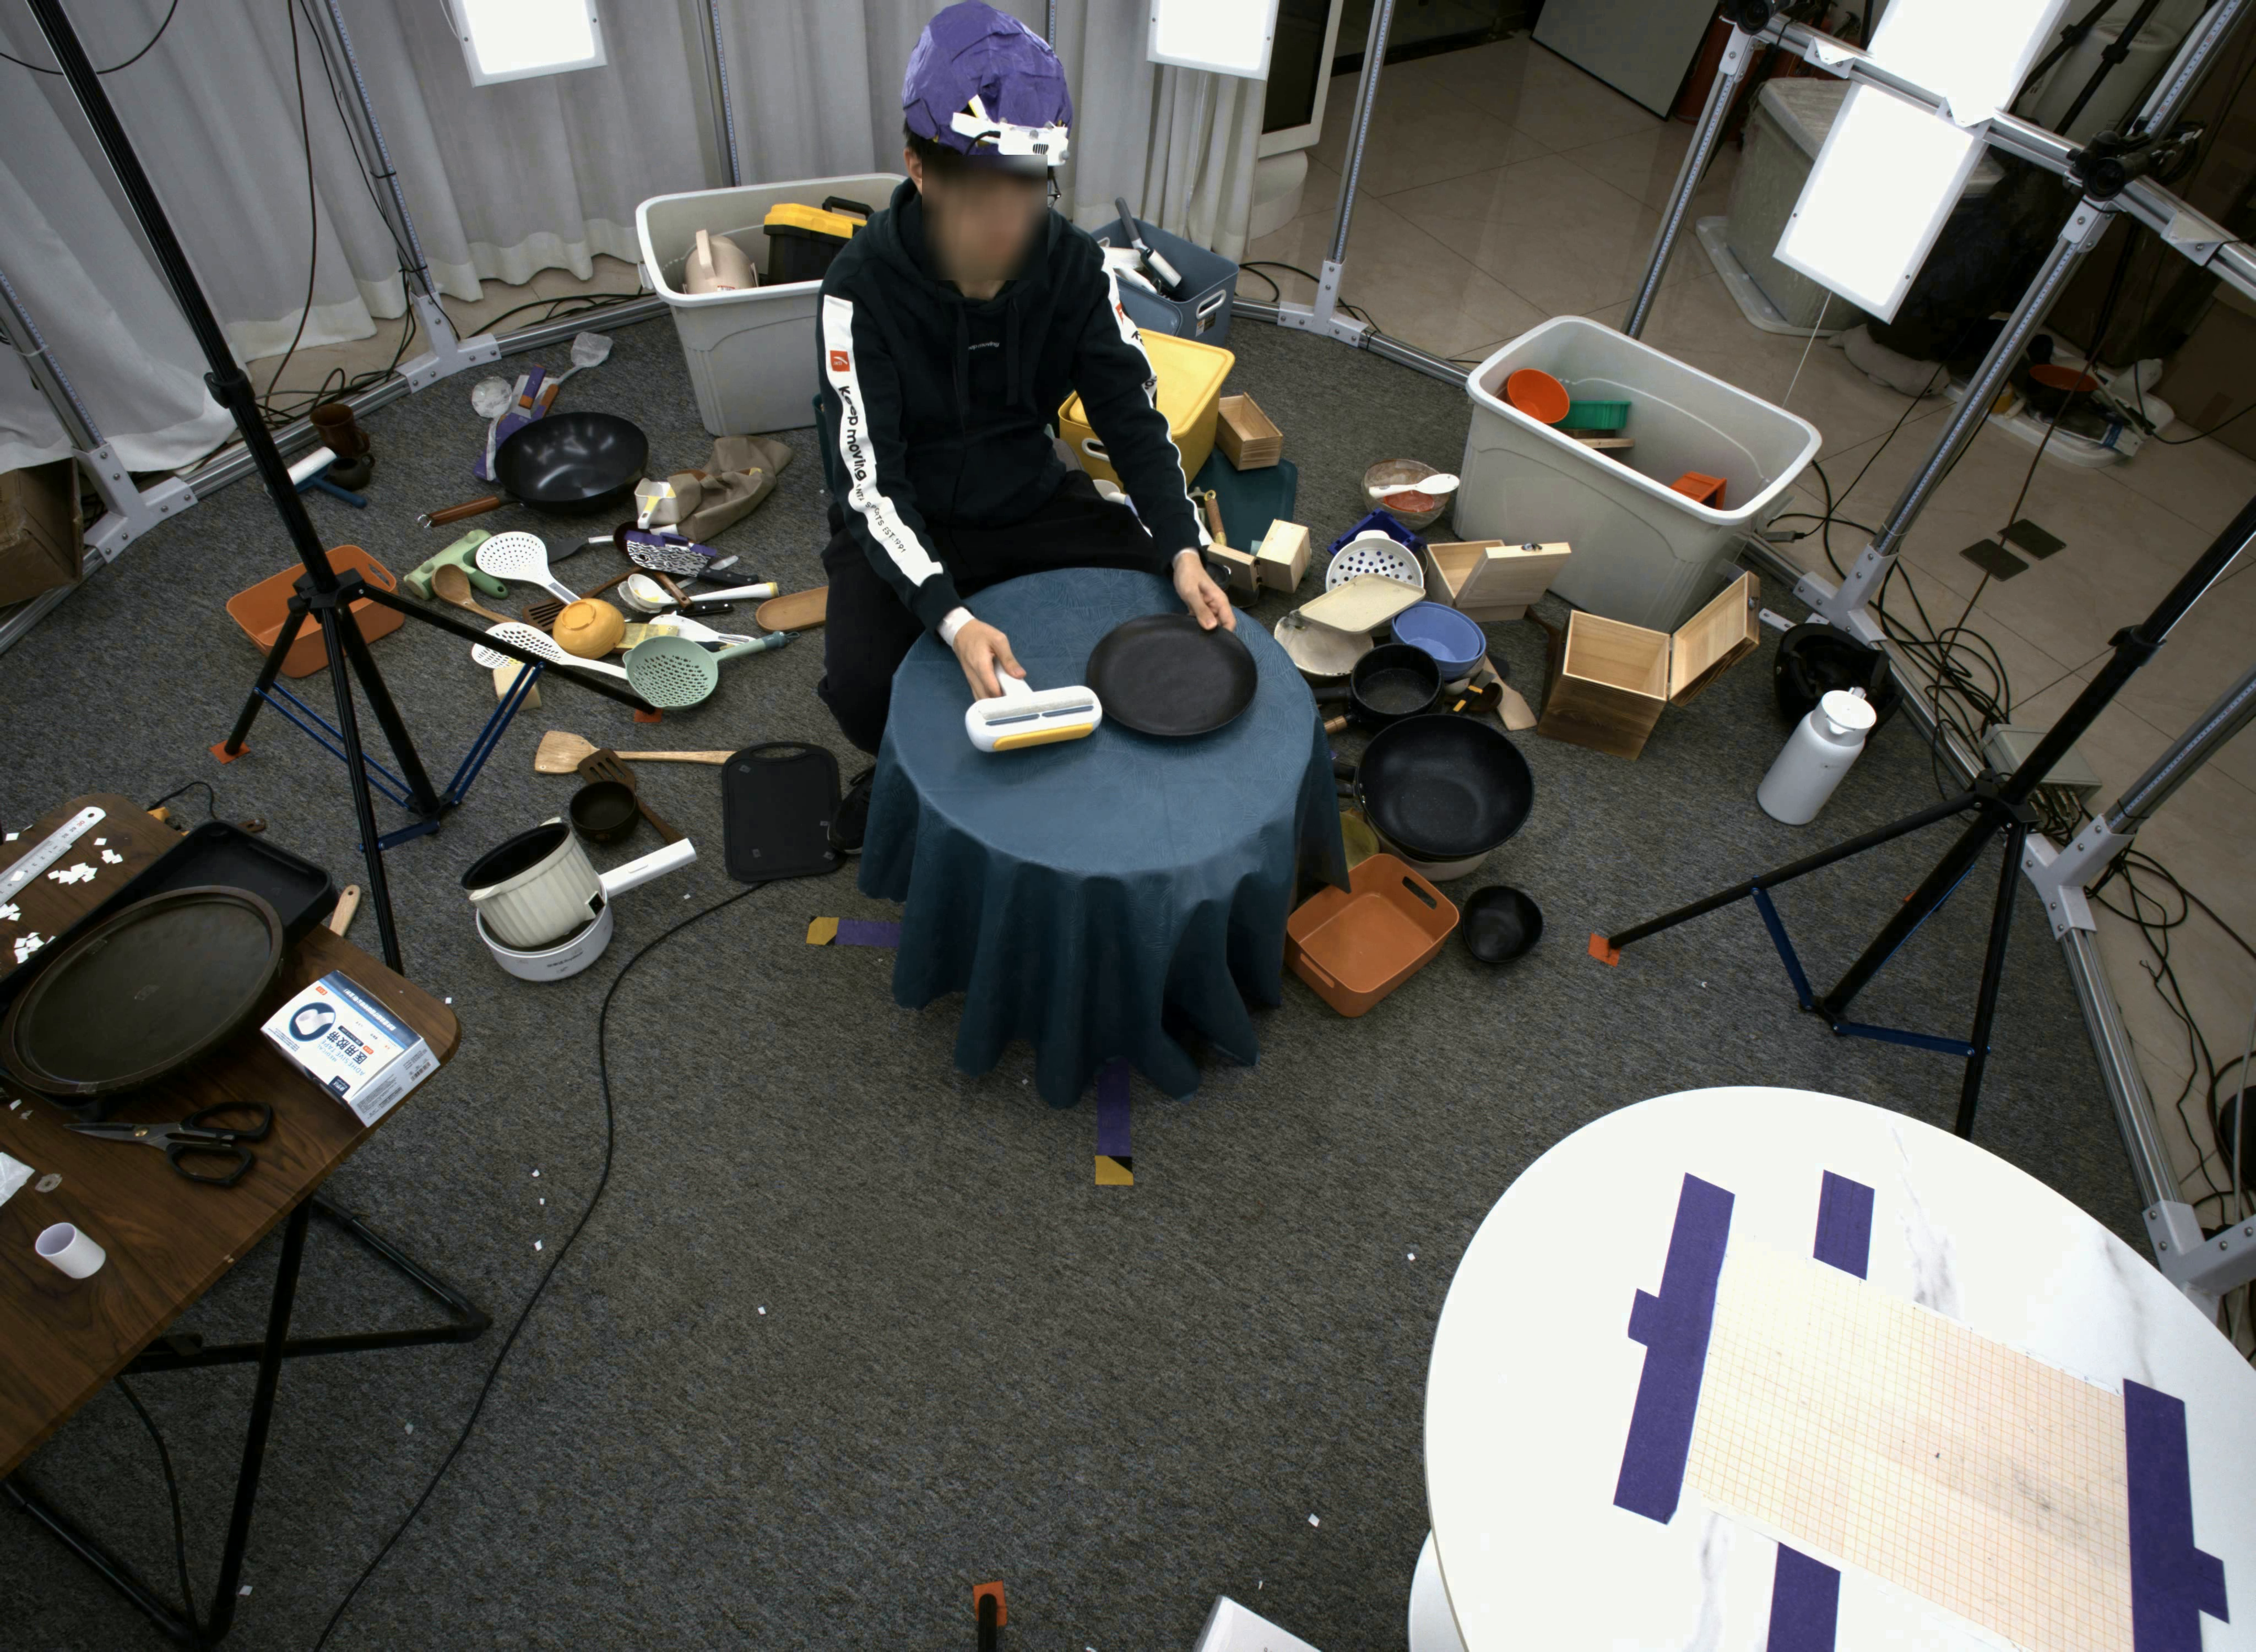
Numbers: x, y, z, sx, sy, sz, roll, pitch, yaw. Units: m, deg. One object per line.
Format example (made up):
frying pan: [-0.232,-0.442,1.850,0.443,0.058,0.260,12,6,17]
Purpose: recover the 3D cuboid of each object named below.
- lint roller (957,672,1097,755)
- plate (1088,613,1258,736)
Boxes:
lint roller: [-0.156,-0.170,1.779,0.192,0.072,0.197,-8,41,-21]
plate: [0.064,-0.214,1.834,0.244,0.023,0.250,0,51,0]
